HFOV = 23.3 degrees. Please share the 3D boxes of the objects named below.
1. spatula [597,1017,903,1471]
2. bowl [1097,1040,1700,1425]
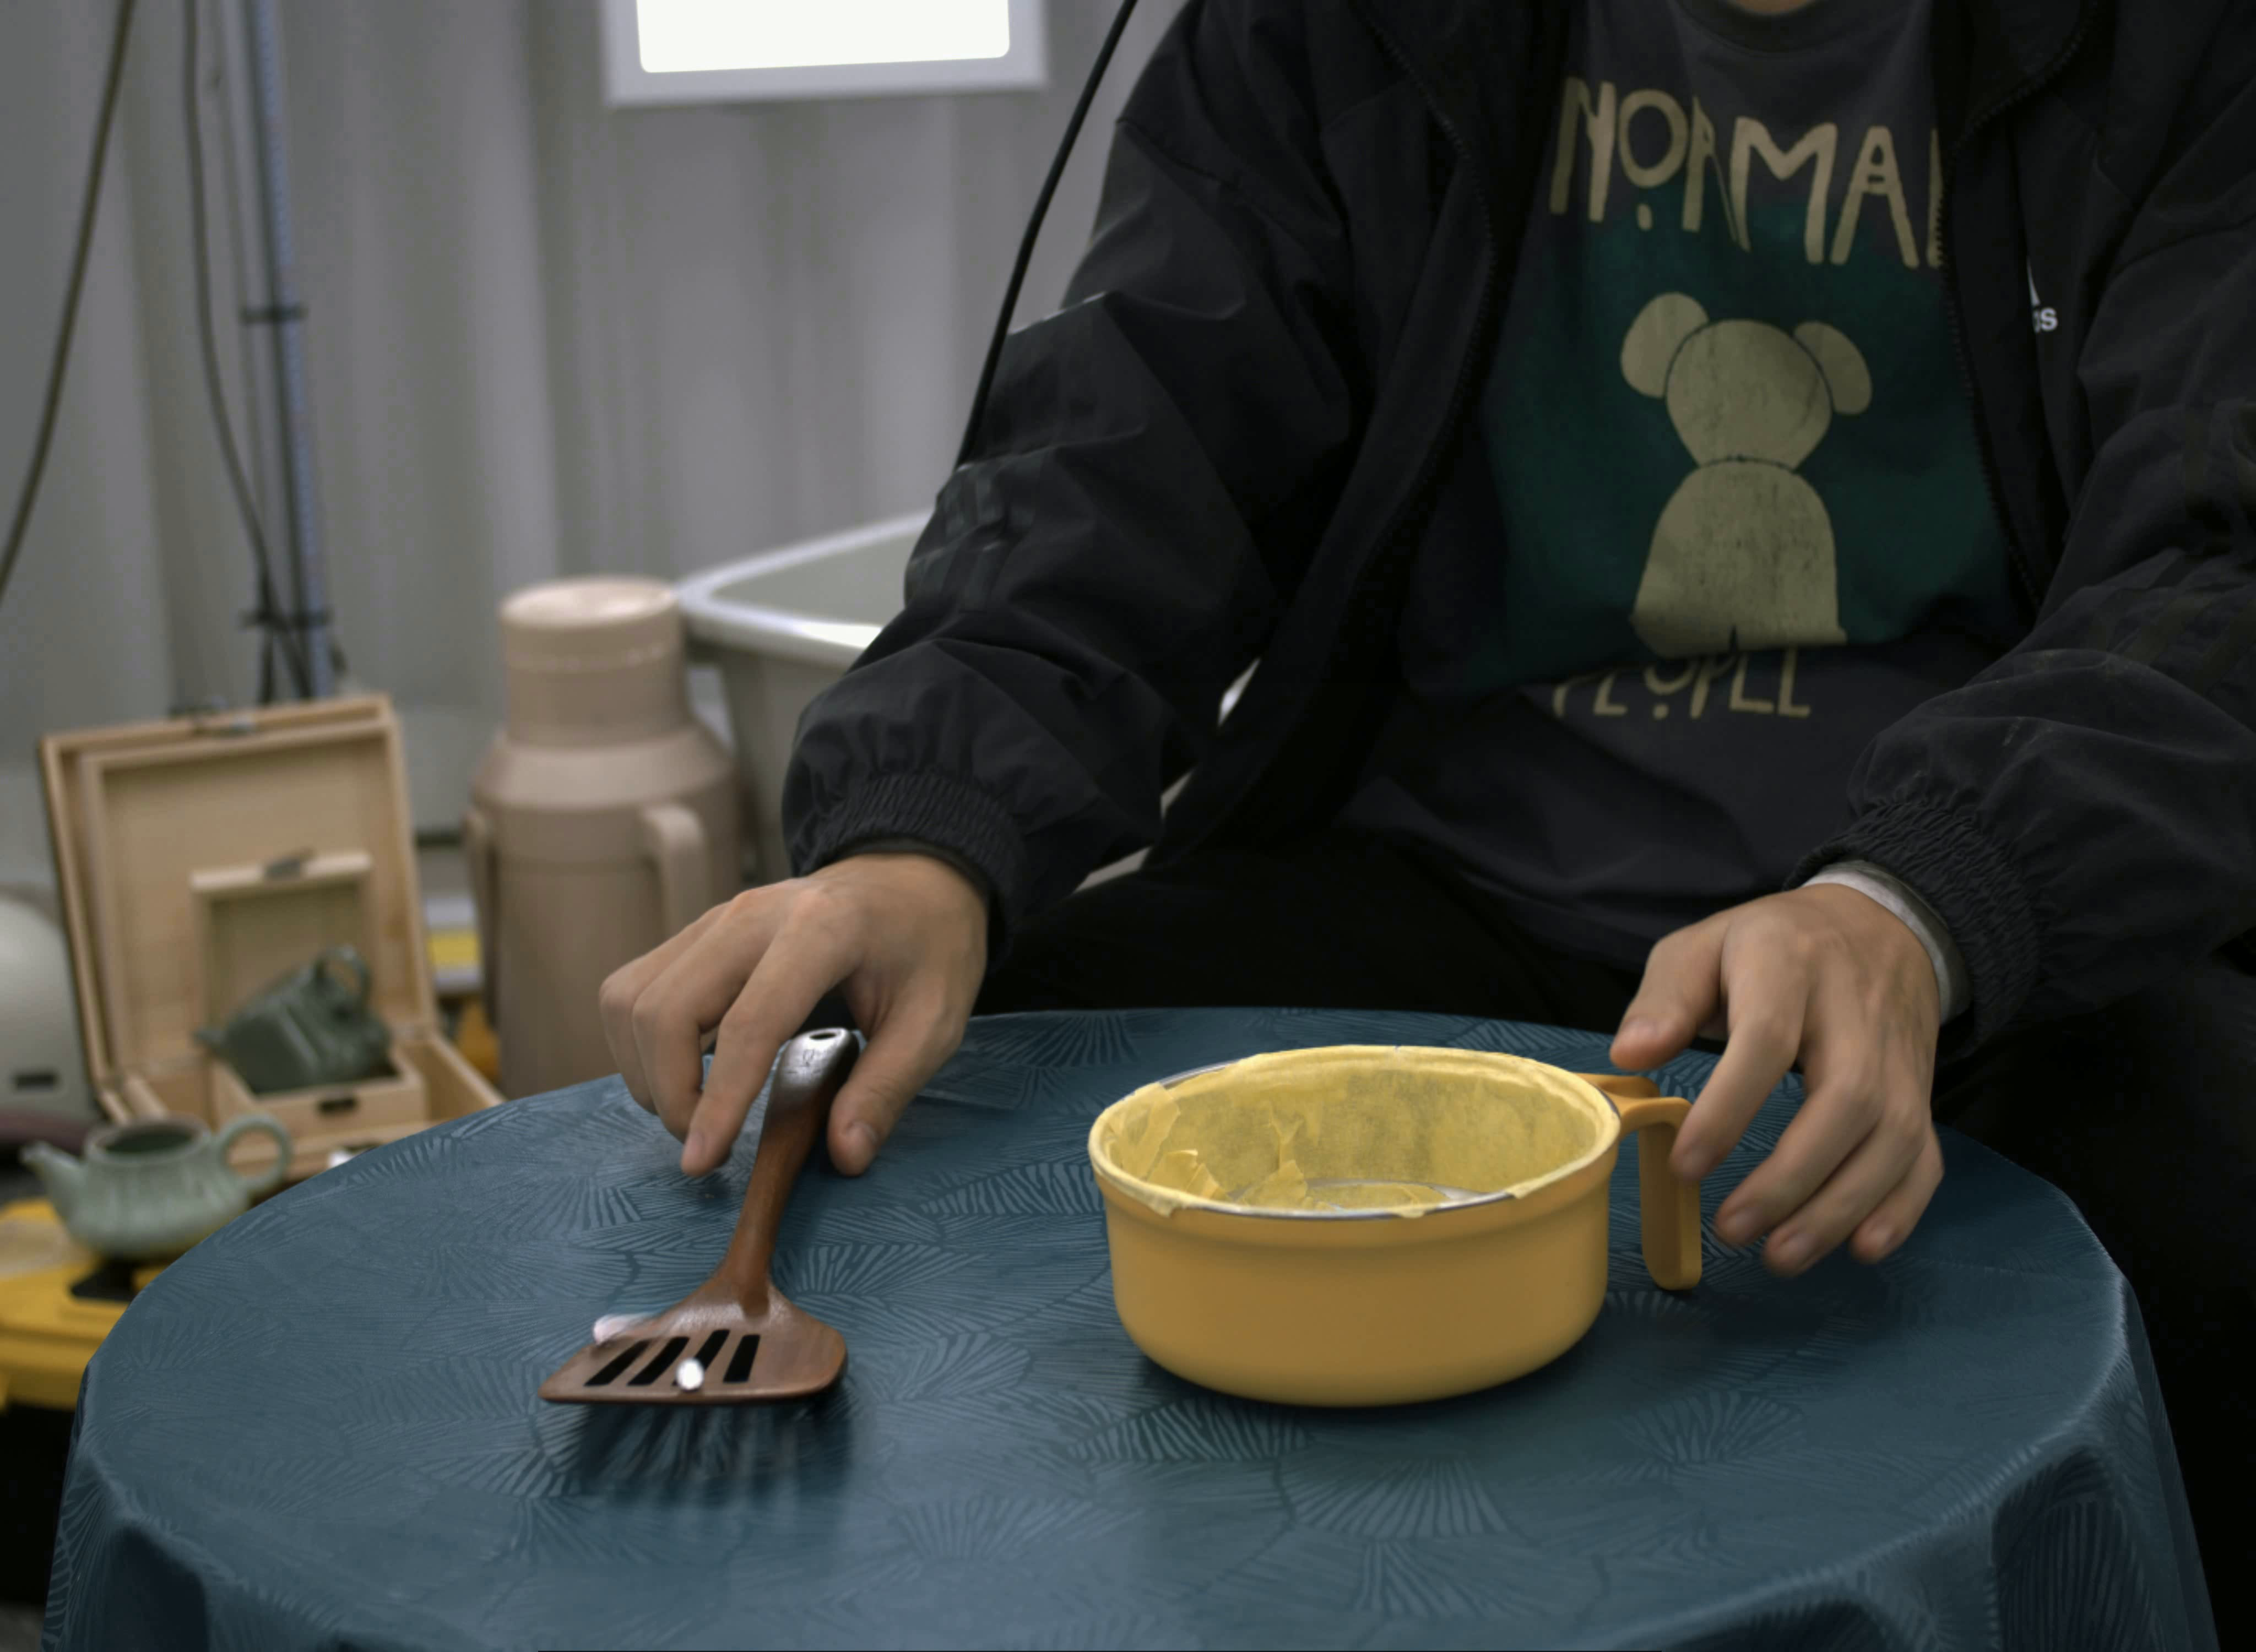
[{"bbox_3d":[-0.123,0.127,1.677,0.085,0.024,0.390,4,17,-8],"label":"spatula"},{"bbox_3d":[0.081,0.117,1.568,0.178,0.074,0.154,-10,17,-25],"label":"bowl"}]
